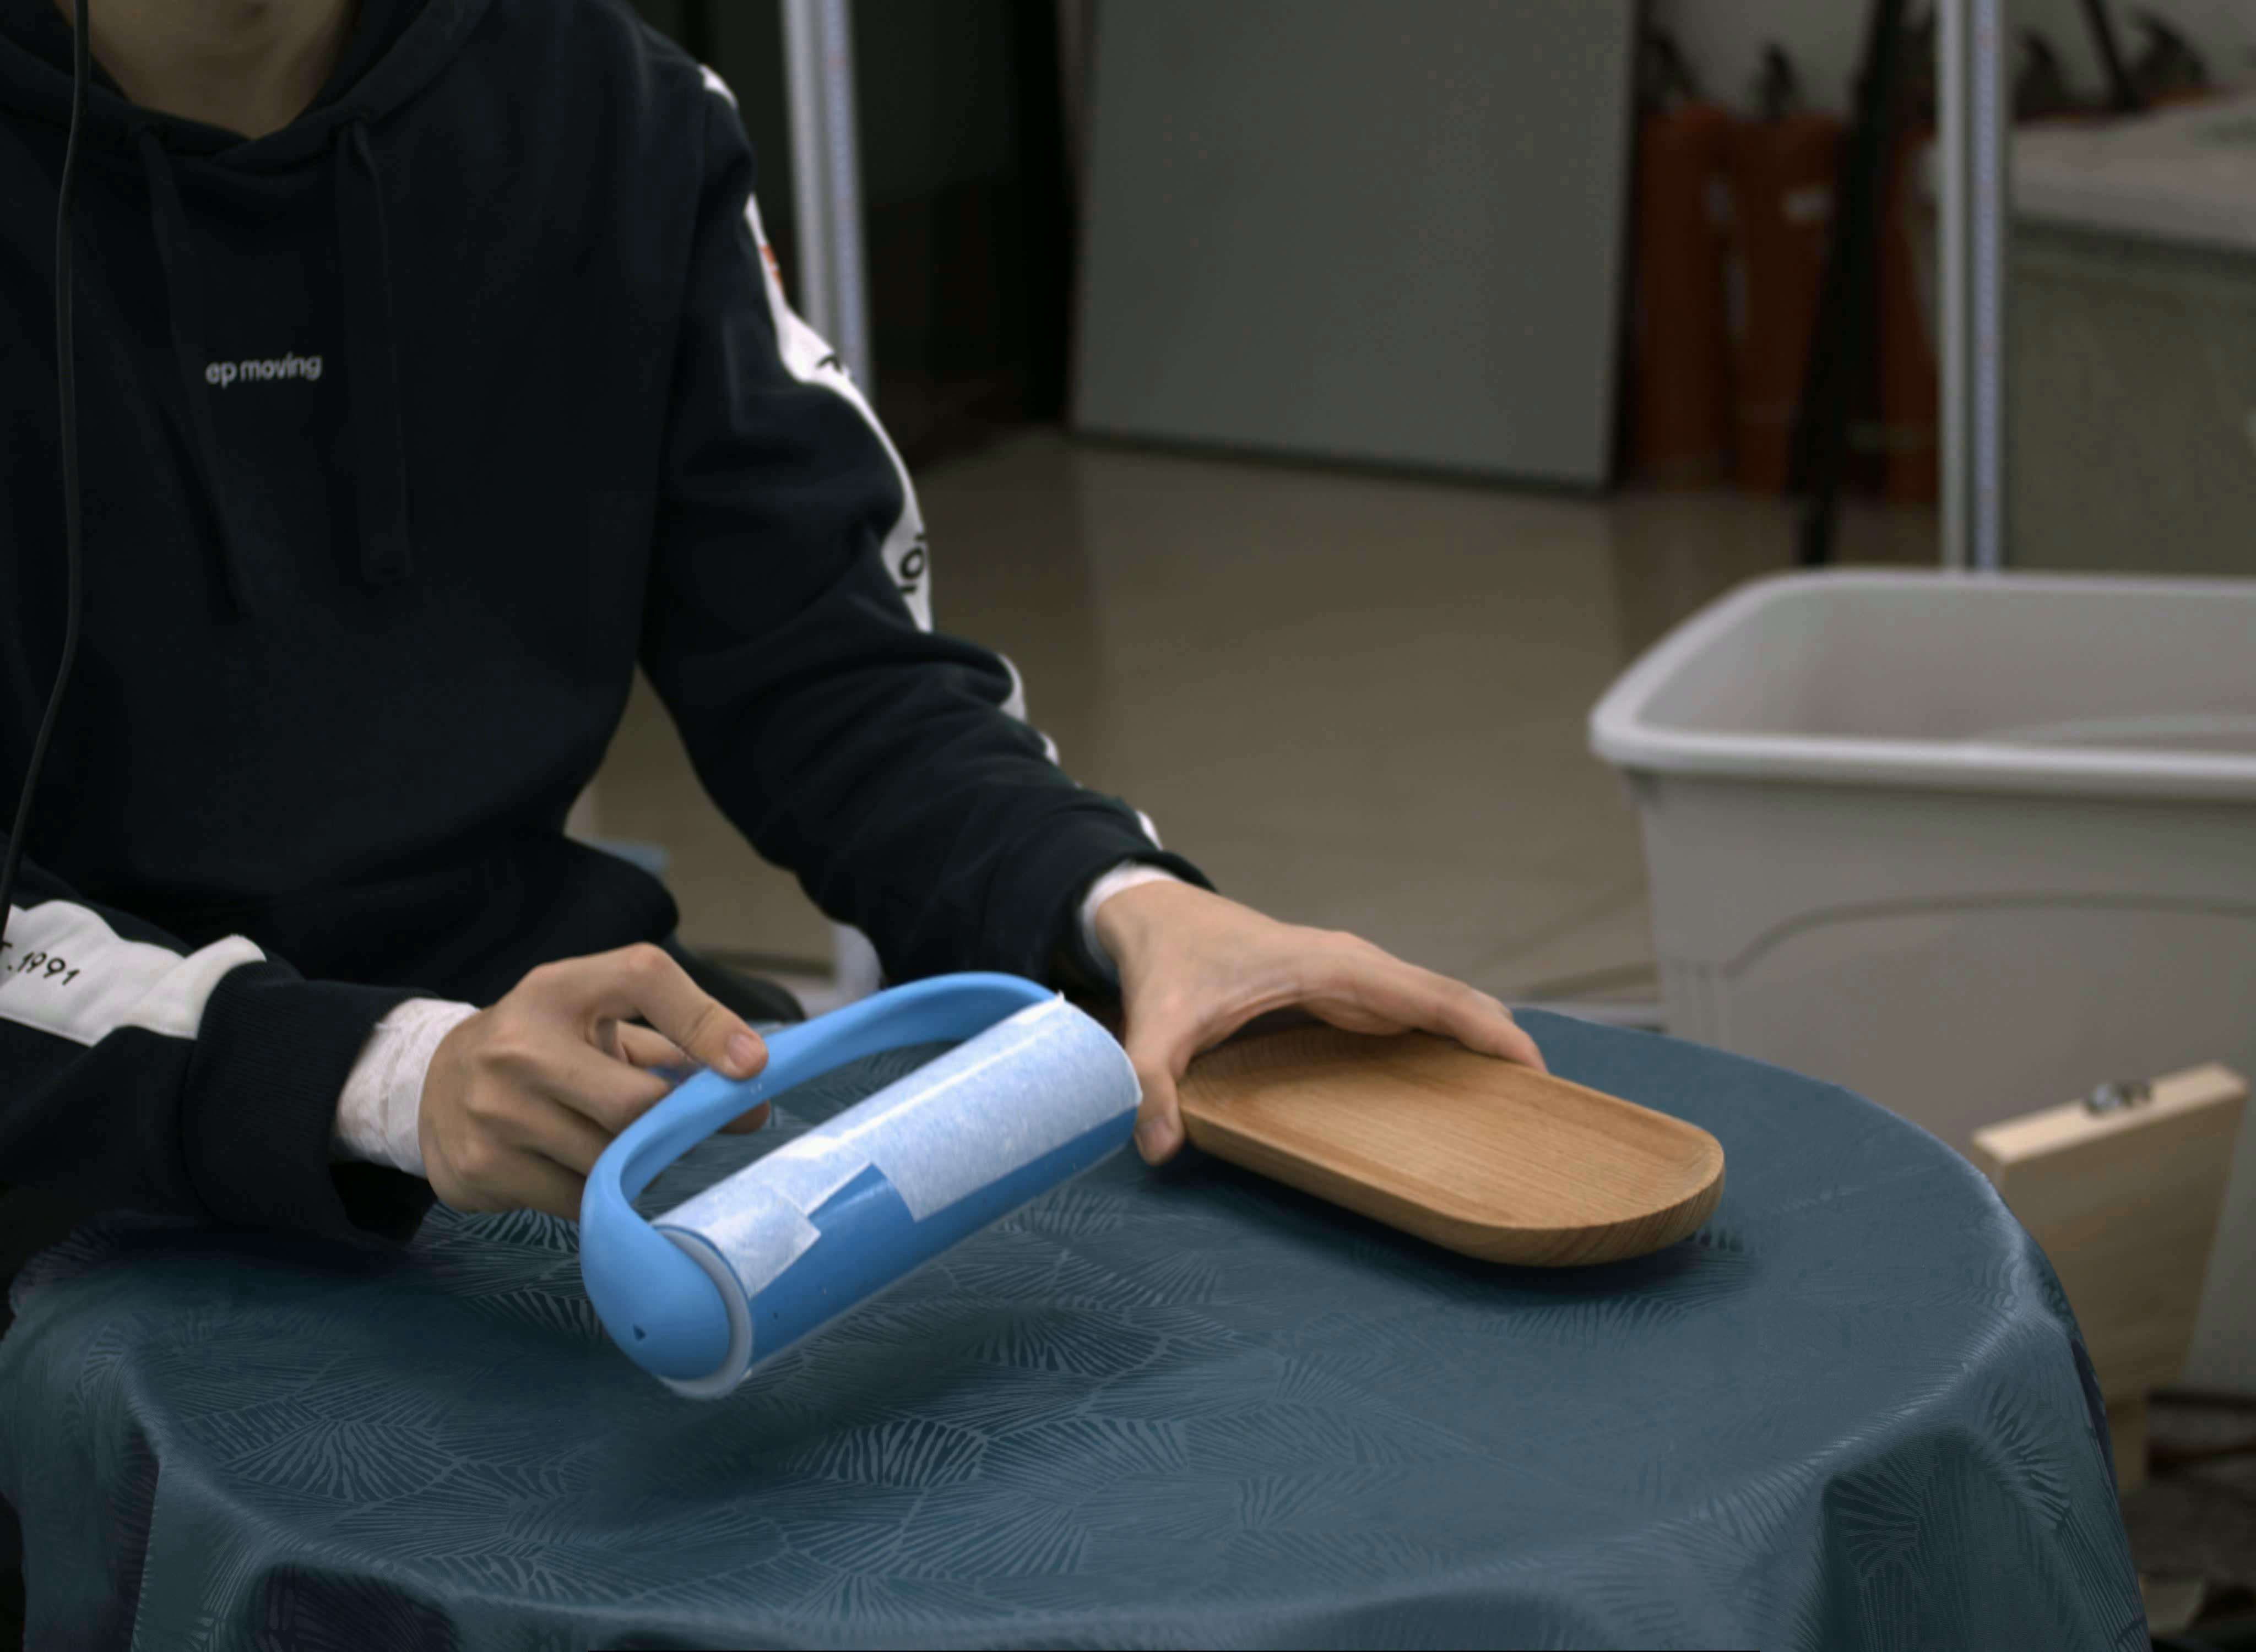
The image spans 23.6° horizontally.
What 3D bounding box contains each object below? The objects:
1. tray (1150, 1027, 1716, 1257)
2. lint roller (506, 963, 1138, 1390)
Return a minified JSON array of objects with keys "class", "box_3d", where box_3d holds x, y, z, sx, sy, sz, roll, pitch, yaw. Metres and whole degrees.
[{"class":"tray","box_3d":[0.096,0.101,1.735,0.099,0.020,0.233,-16,17,-33]},{"class":"lint roller","box_3d":[-0.120,0.098,1.625,0.181,0.068,0.225,6,23,33]}]
